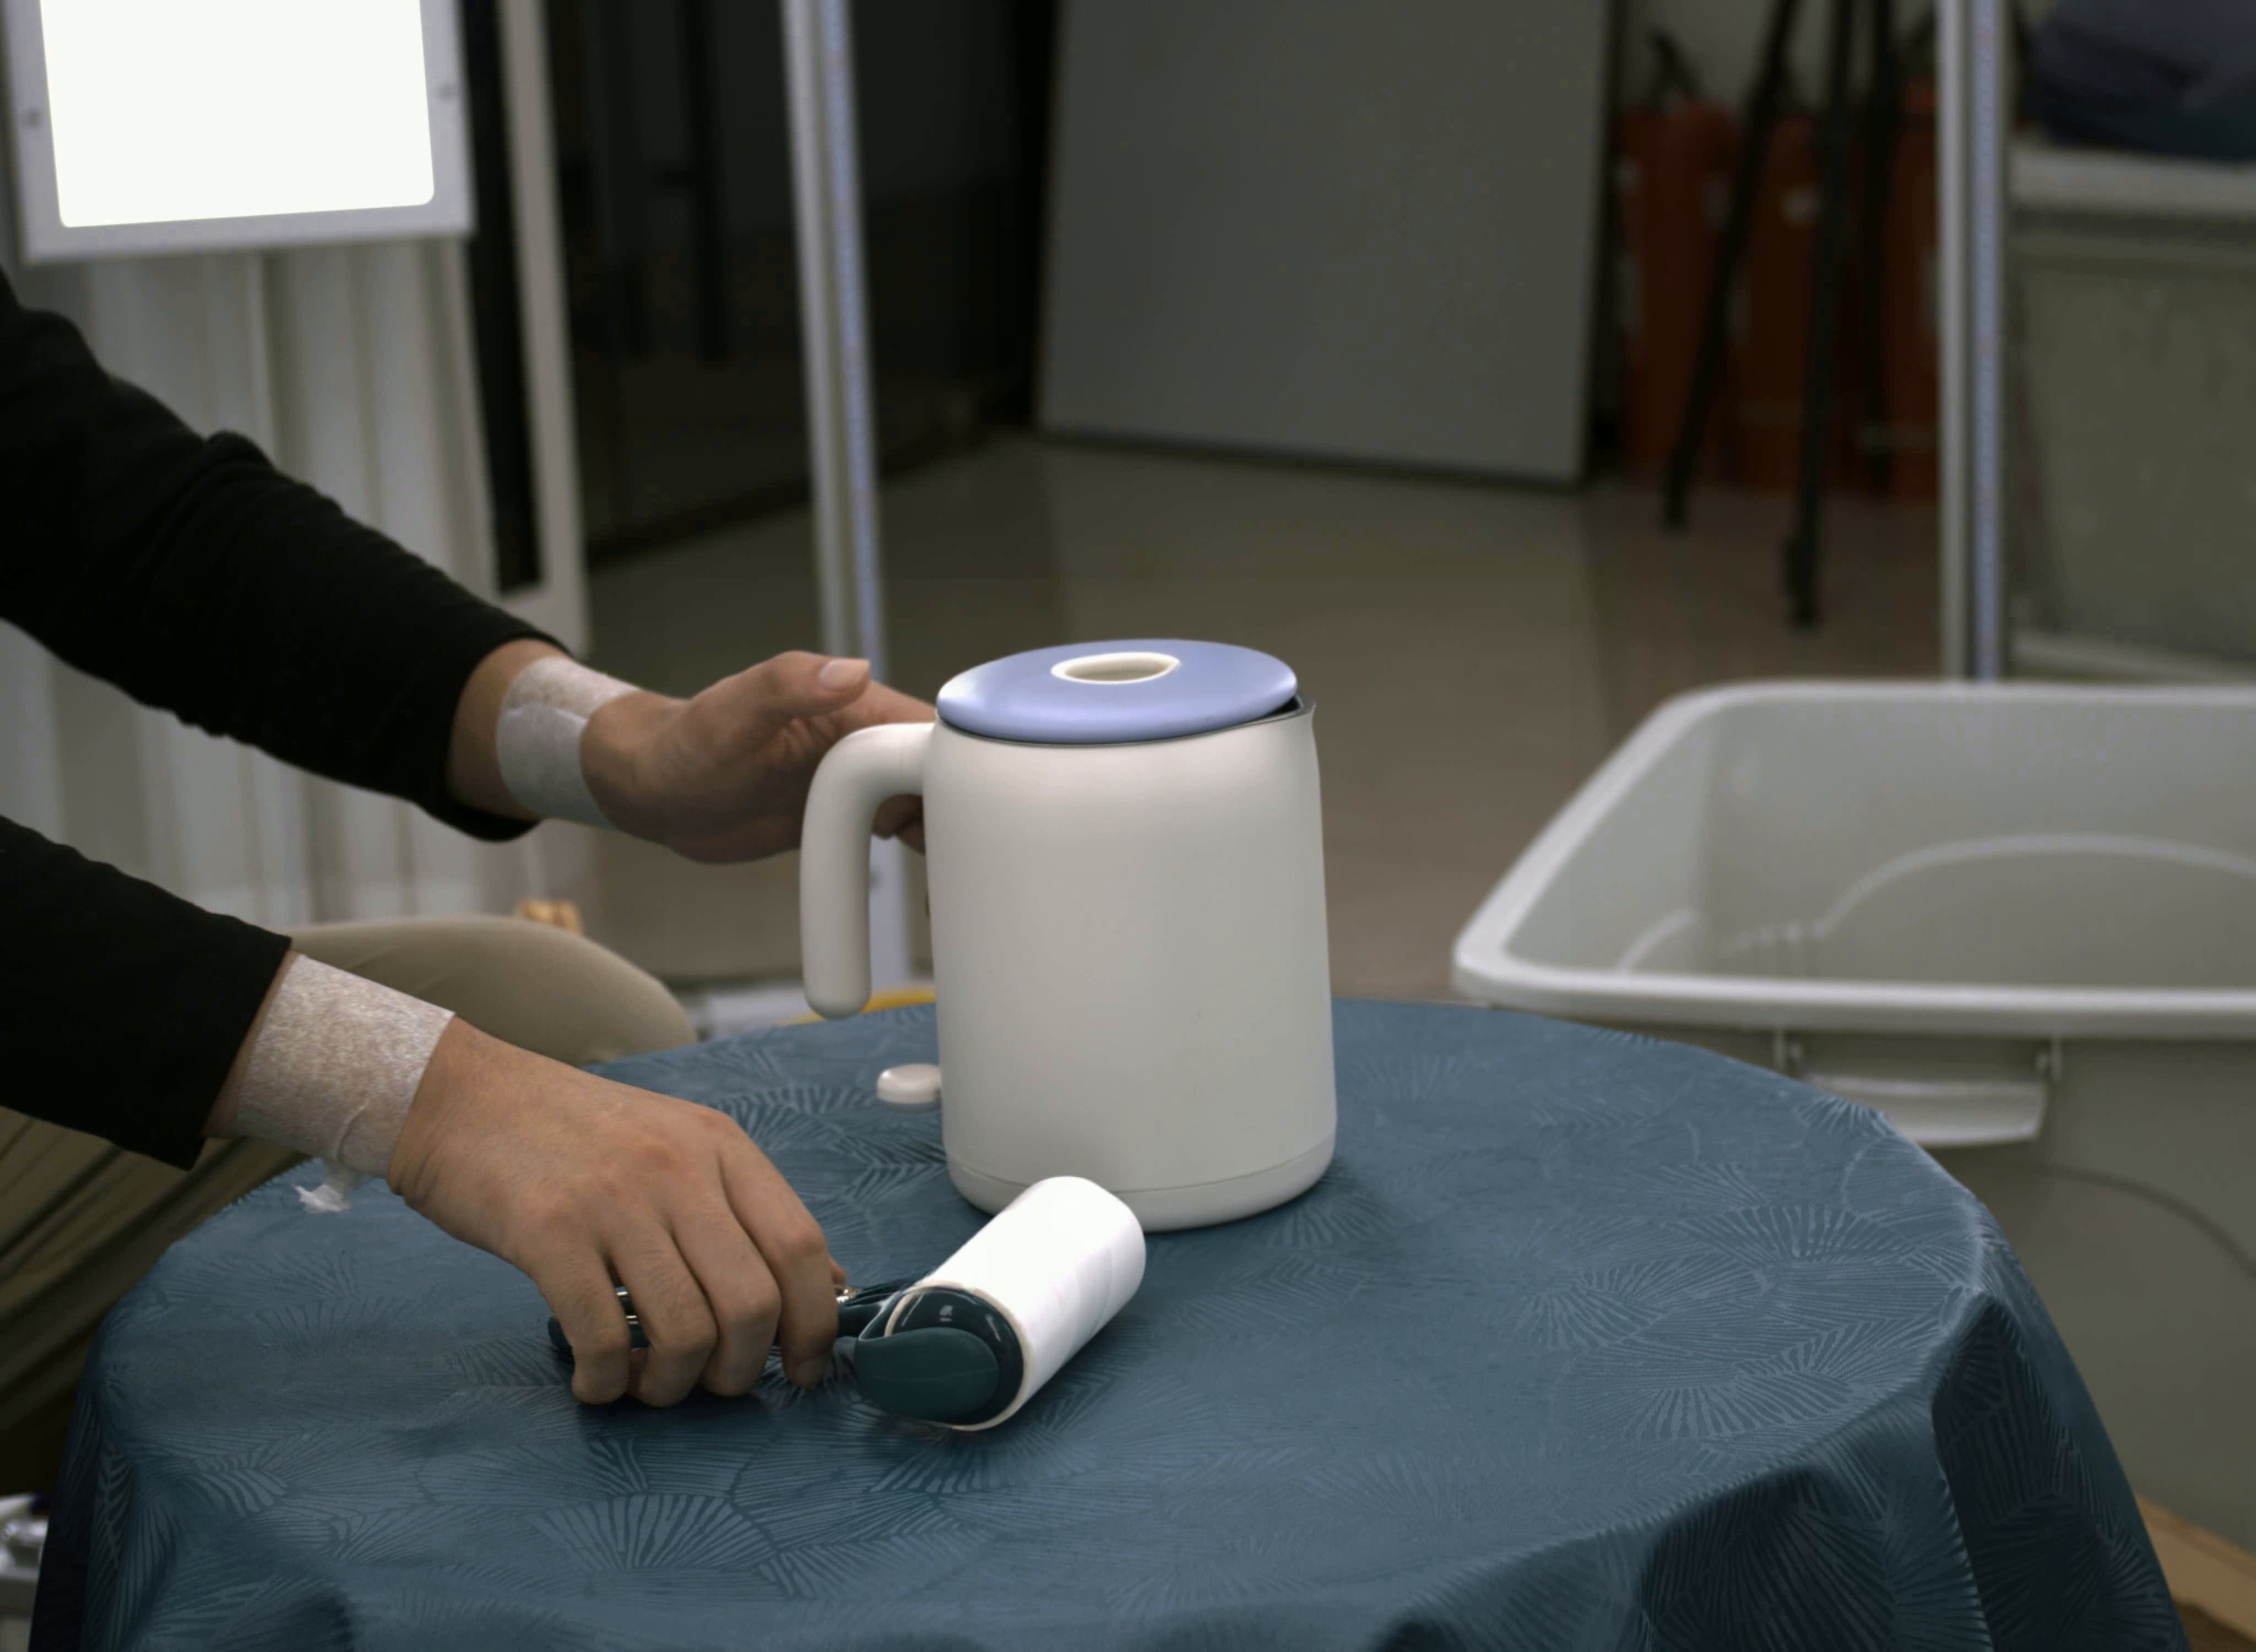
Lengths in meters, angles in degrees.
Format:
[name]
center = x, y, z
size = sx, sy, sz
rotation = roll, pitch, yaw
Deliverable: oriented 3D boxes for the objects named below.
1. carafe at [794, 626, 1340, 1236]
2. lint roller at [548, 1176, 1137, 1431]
[carafe]
center = -0.022, 0.034, 1.771
size = 0.191, 0.184, 0.131
rotation = -1, 13, 22
[lint roller]
center = -0.096, 0.143, 1.625
size = 0.180, 0.049, 0.133
rotation = -2, 14, 22
